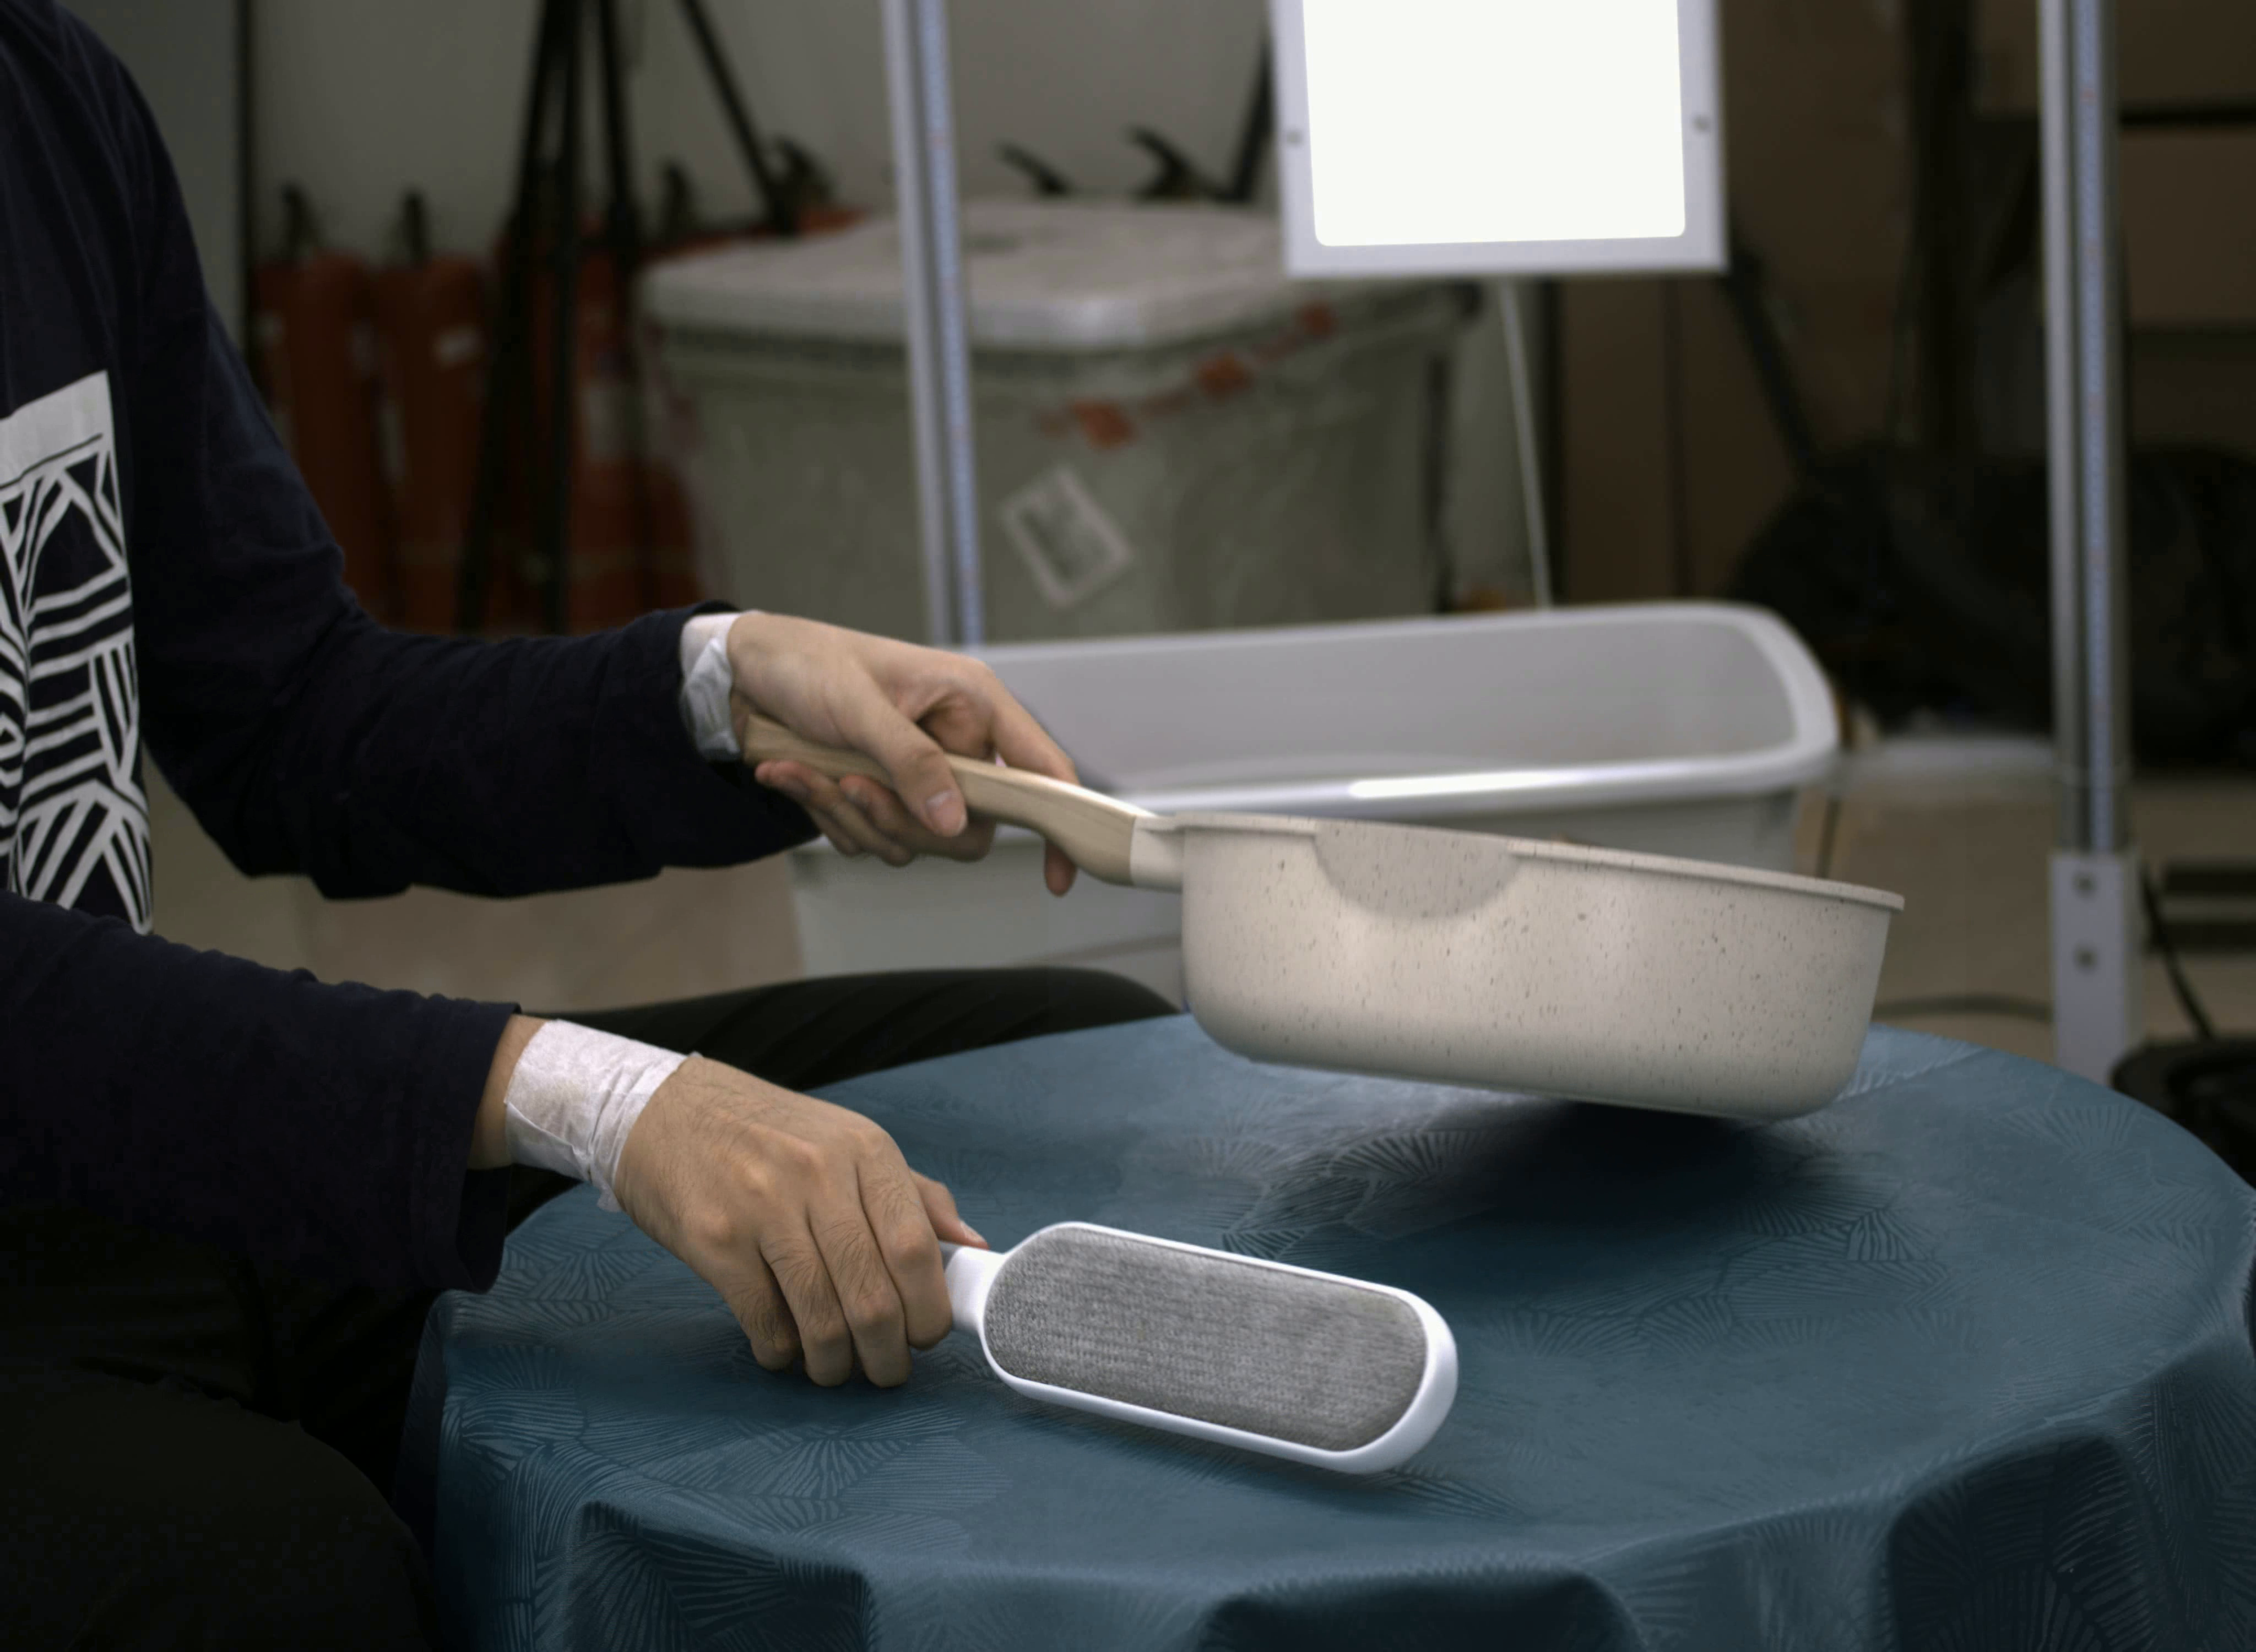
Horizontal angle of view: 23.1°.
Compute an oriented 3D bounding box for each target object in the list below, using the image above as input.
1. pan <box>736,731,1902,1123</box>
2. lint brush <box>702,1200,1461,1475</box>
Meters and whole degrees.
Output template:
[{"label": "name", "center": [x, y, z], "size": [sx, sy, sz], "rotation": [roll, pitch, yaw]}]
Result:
[{"label": "pan", "center": [0.054, 0.036, 1.923], "size": [0.442, 0.102, 0.258], "rotation": [6, 1, 26]}, {"label": "lint brush", "center": [-0.021, 0.148, 1.695], "size": [0.315, 0.060, 0.020], "rotation": [8, -20, 43]}]
